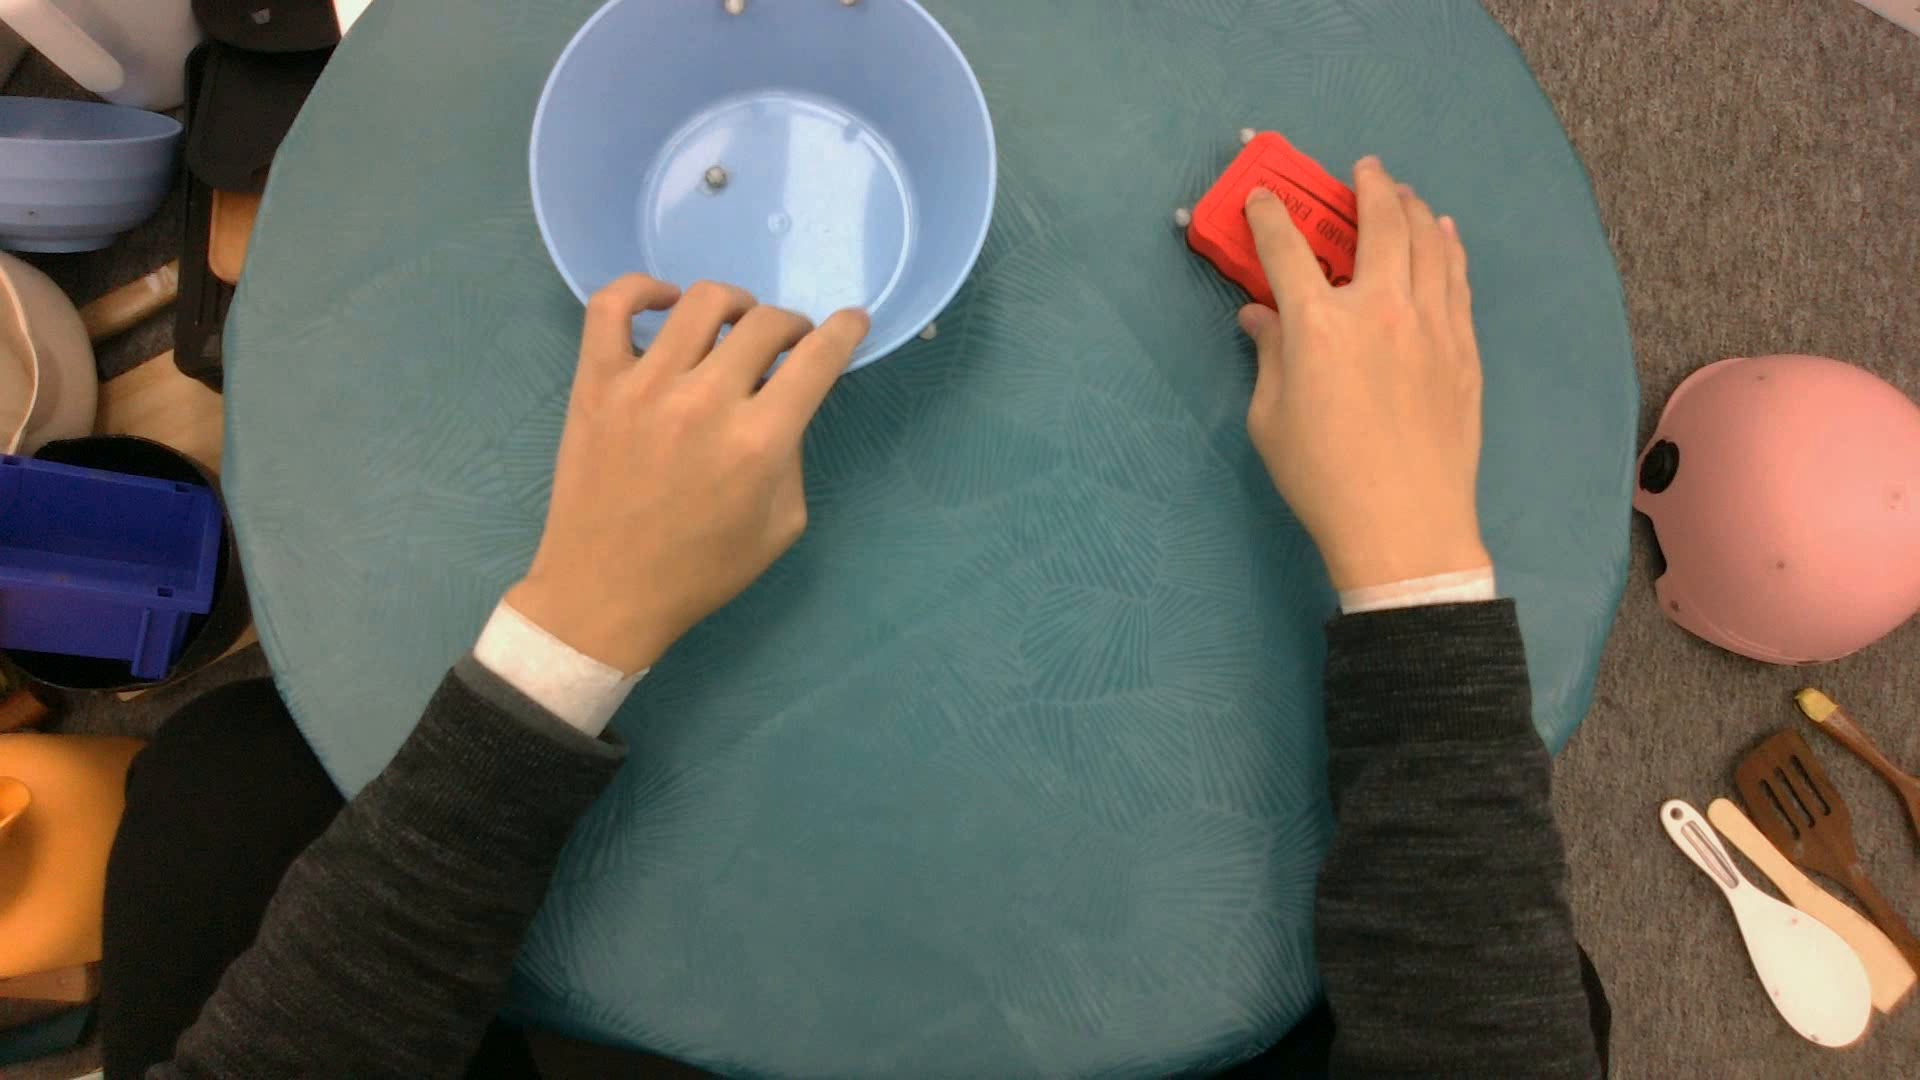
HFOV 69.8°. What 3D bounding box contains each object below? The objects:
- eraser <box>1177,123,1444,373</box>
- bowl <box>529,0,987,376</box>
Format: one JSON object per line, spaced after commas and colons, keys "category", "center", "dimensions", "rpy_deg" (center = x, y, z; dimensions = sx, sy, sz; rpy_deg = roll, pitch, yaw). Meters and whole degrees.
{"category": "eraser", "center": [0.151, -0.126, 0.595], "dimensions": [0.108, 0.023, 0.059], "rpy_deg": [40, 79, 2]}
{"category": "bowl", "center": [-0.079, -0.143, 0.558], "dimensions": [0.176, 0.070, 0.176], "rpy_deg": [1, 81, -4]}
